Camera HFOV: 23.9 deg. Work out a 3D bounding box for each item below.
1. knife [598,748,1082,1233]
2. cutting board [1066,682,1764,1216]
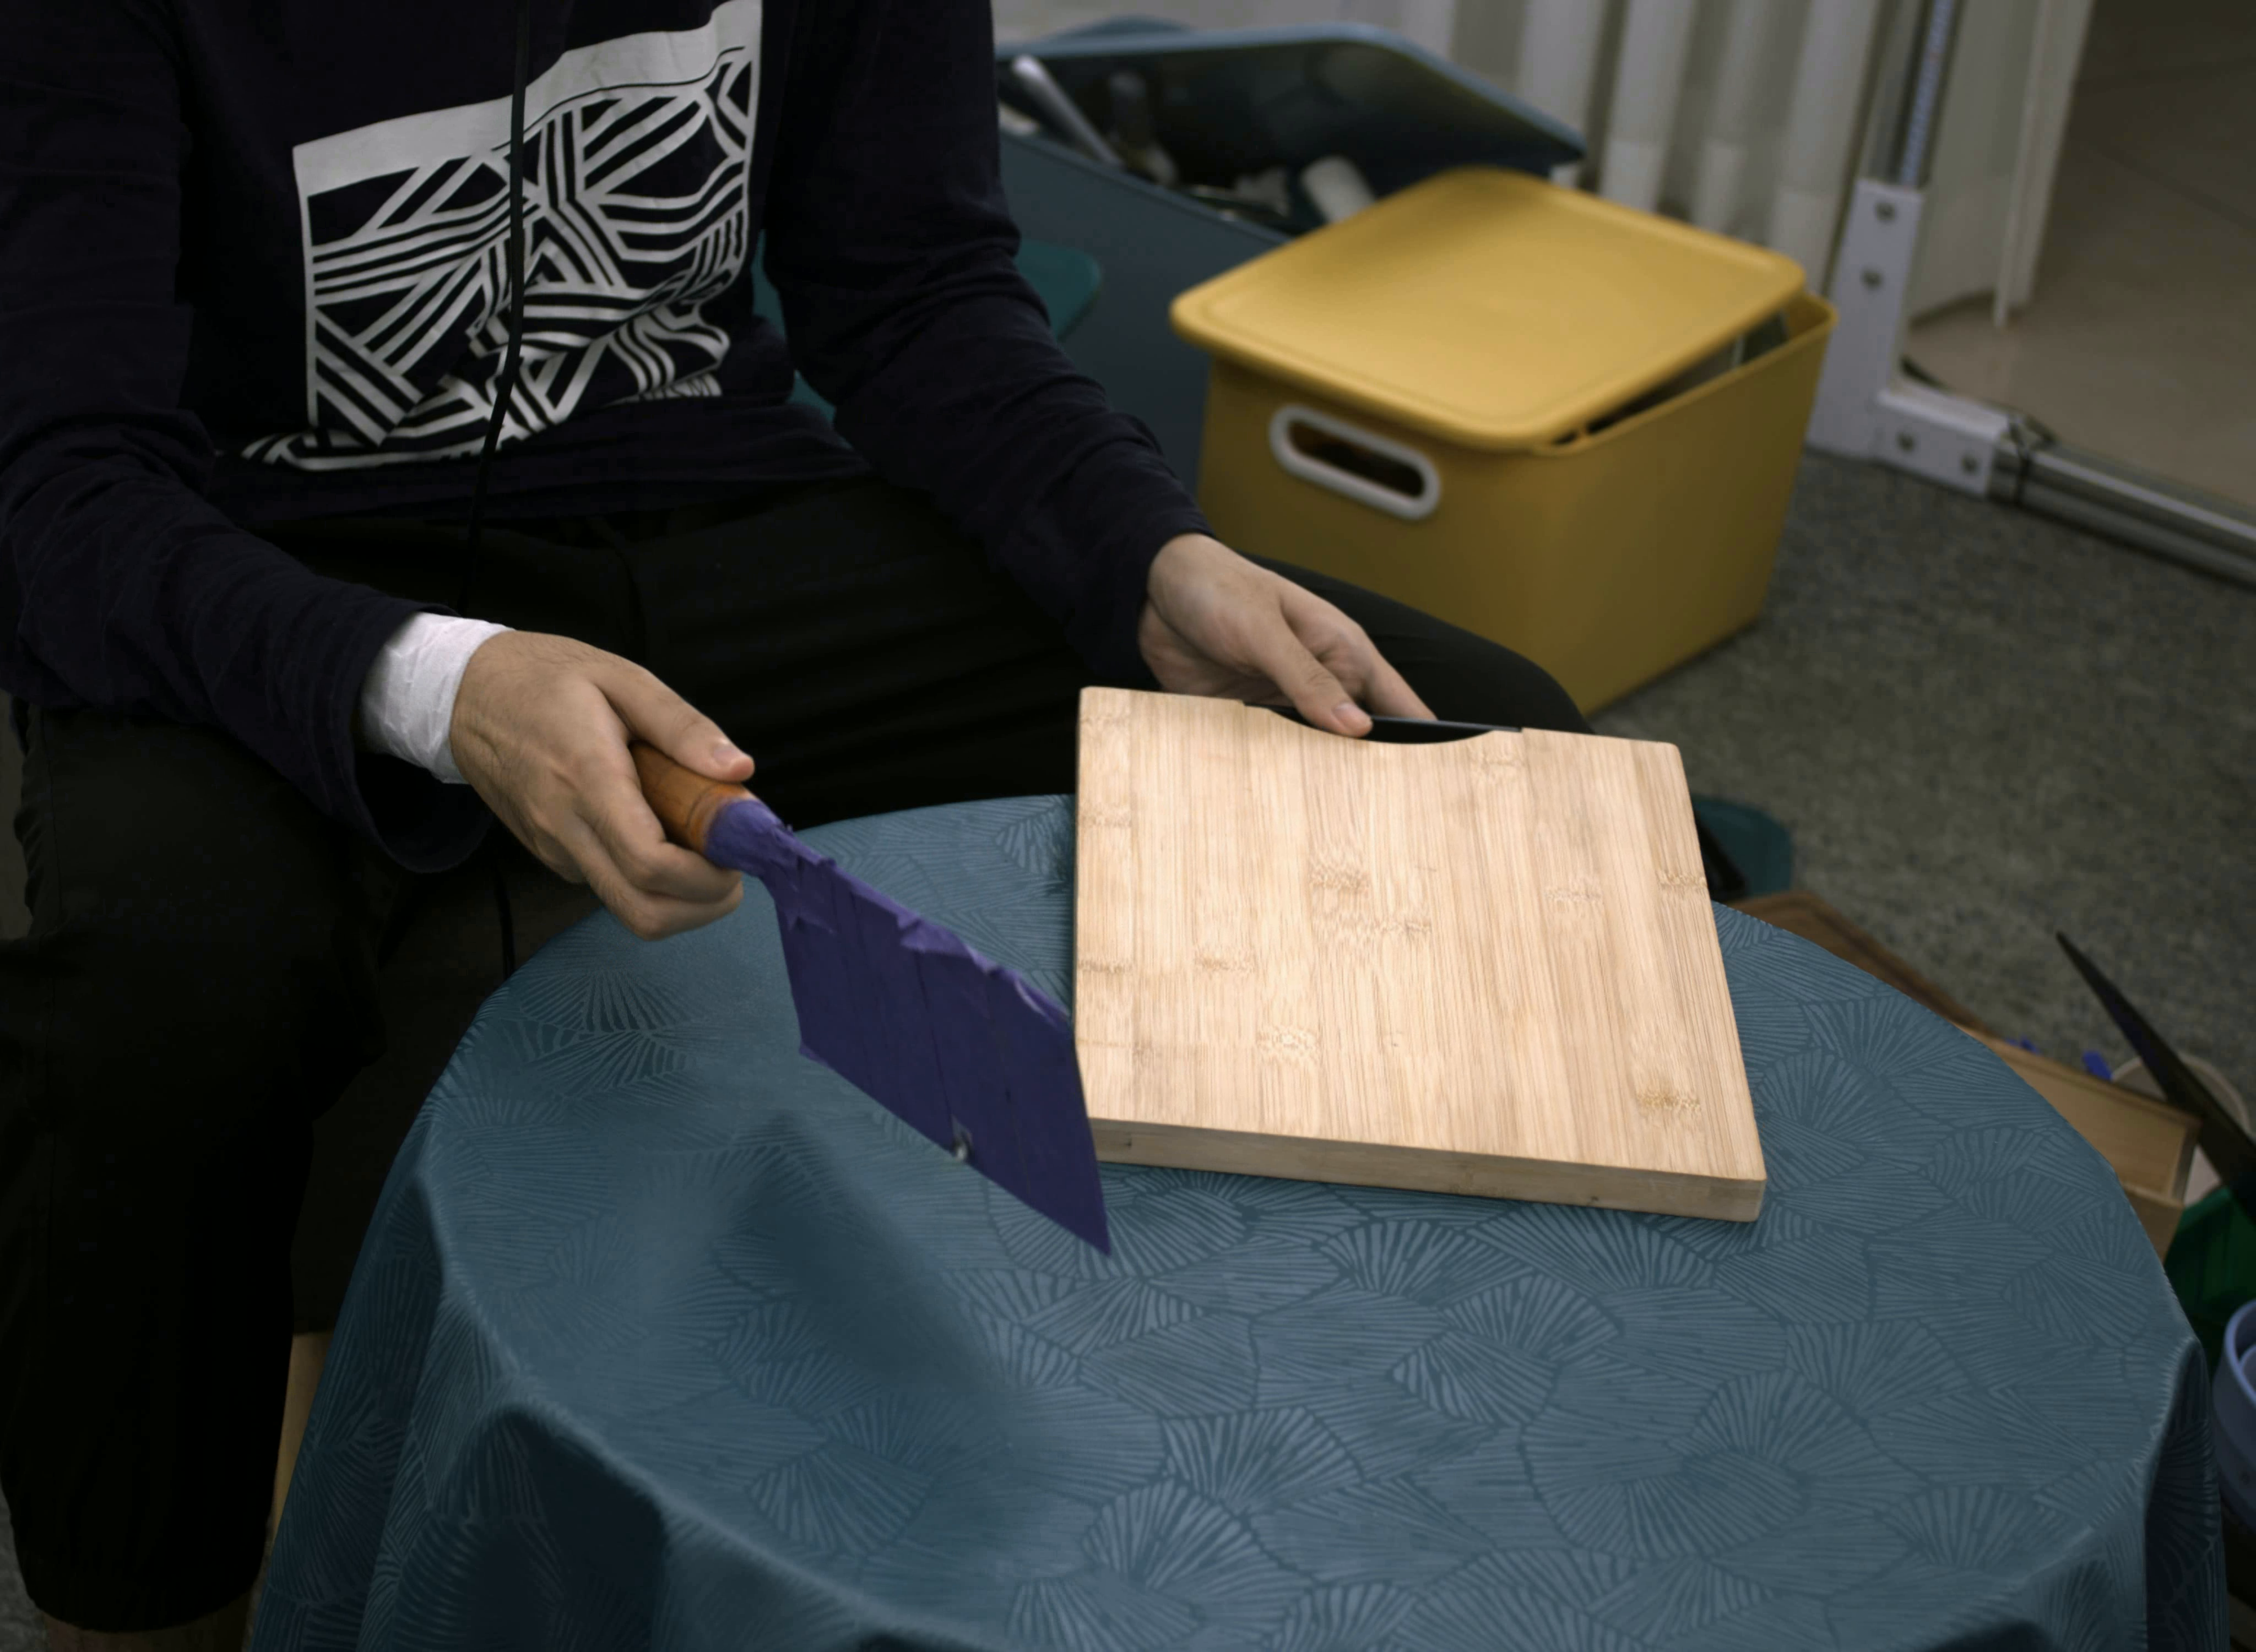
[{"bbox_3d":[-0.099,0.054,1.766,0.032,0.104,0.317,-8,19,-28],"label":"knife"},{"bbox_3d":[0.100,0.039,1.978,0.250,0.023,0.351,5,27,-3],"label":"cutting board"}]
